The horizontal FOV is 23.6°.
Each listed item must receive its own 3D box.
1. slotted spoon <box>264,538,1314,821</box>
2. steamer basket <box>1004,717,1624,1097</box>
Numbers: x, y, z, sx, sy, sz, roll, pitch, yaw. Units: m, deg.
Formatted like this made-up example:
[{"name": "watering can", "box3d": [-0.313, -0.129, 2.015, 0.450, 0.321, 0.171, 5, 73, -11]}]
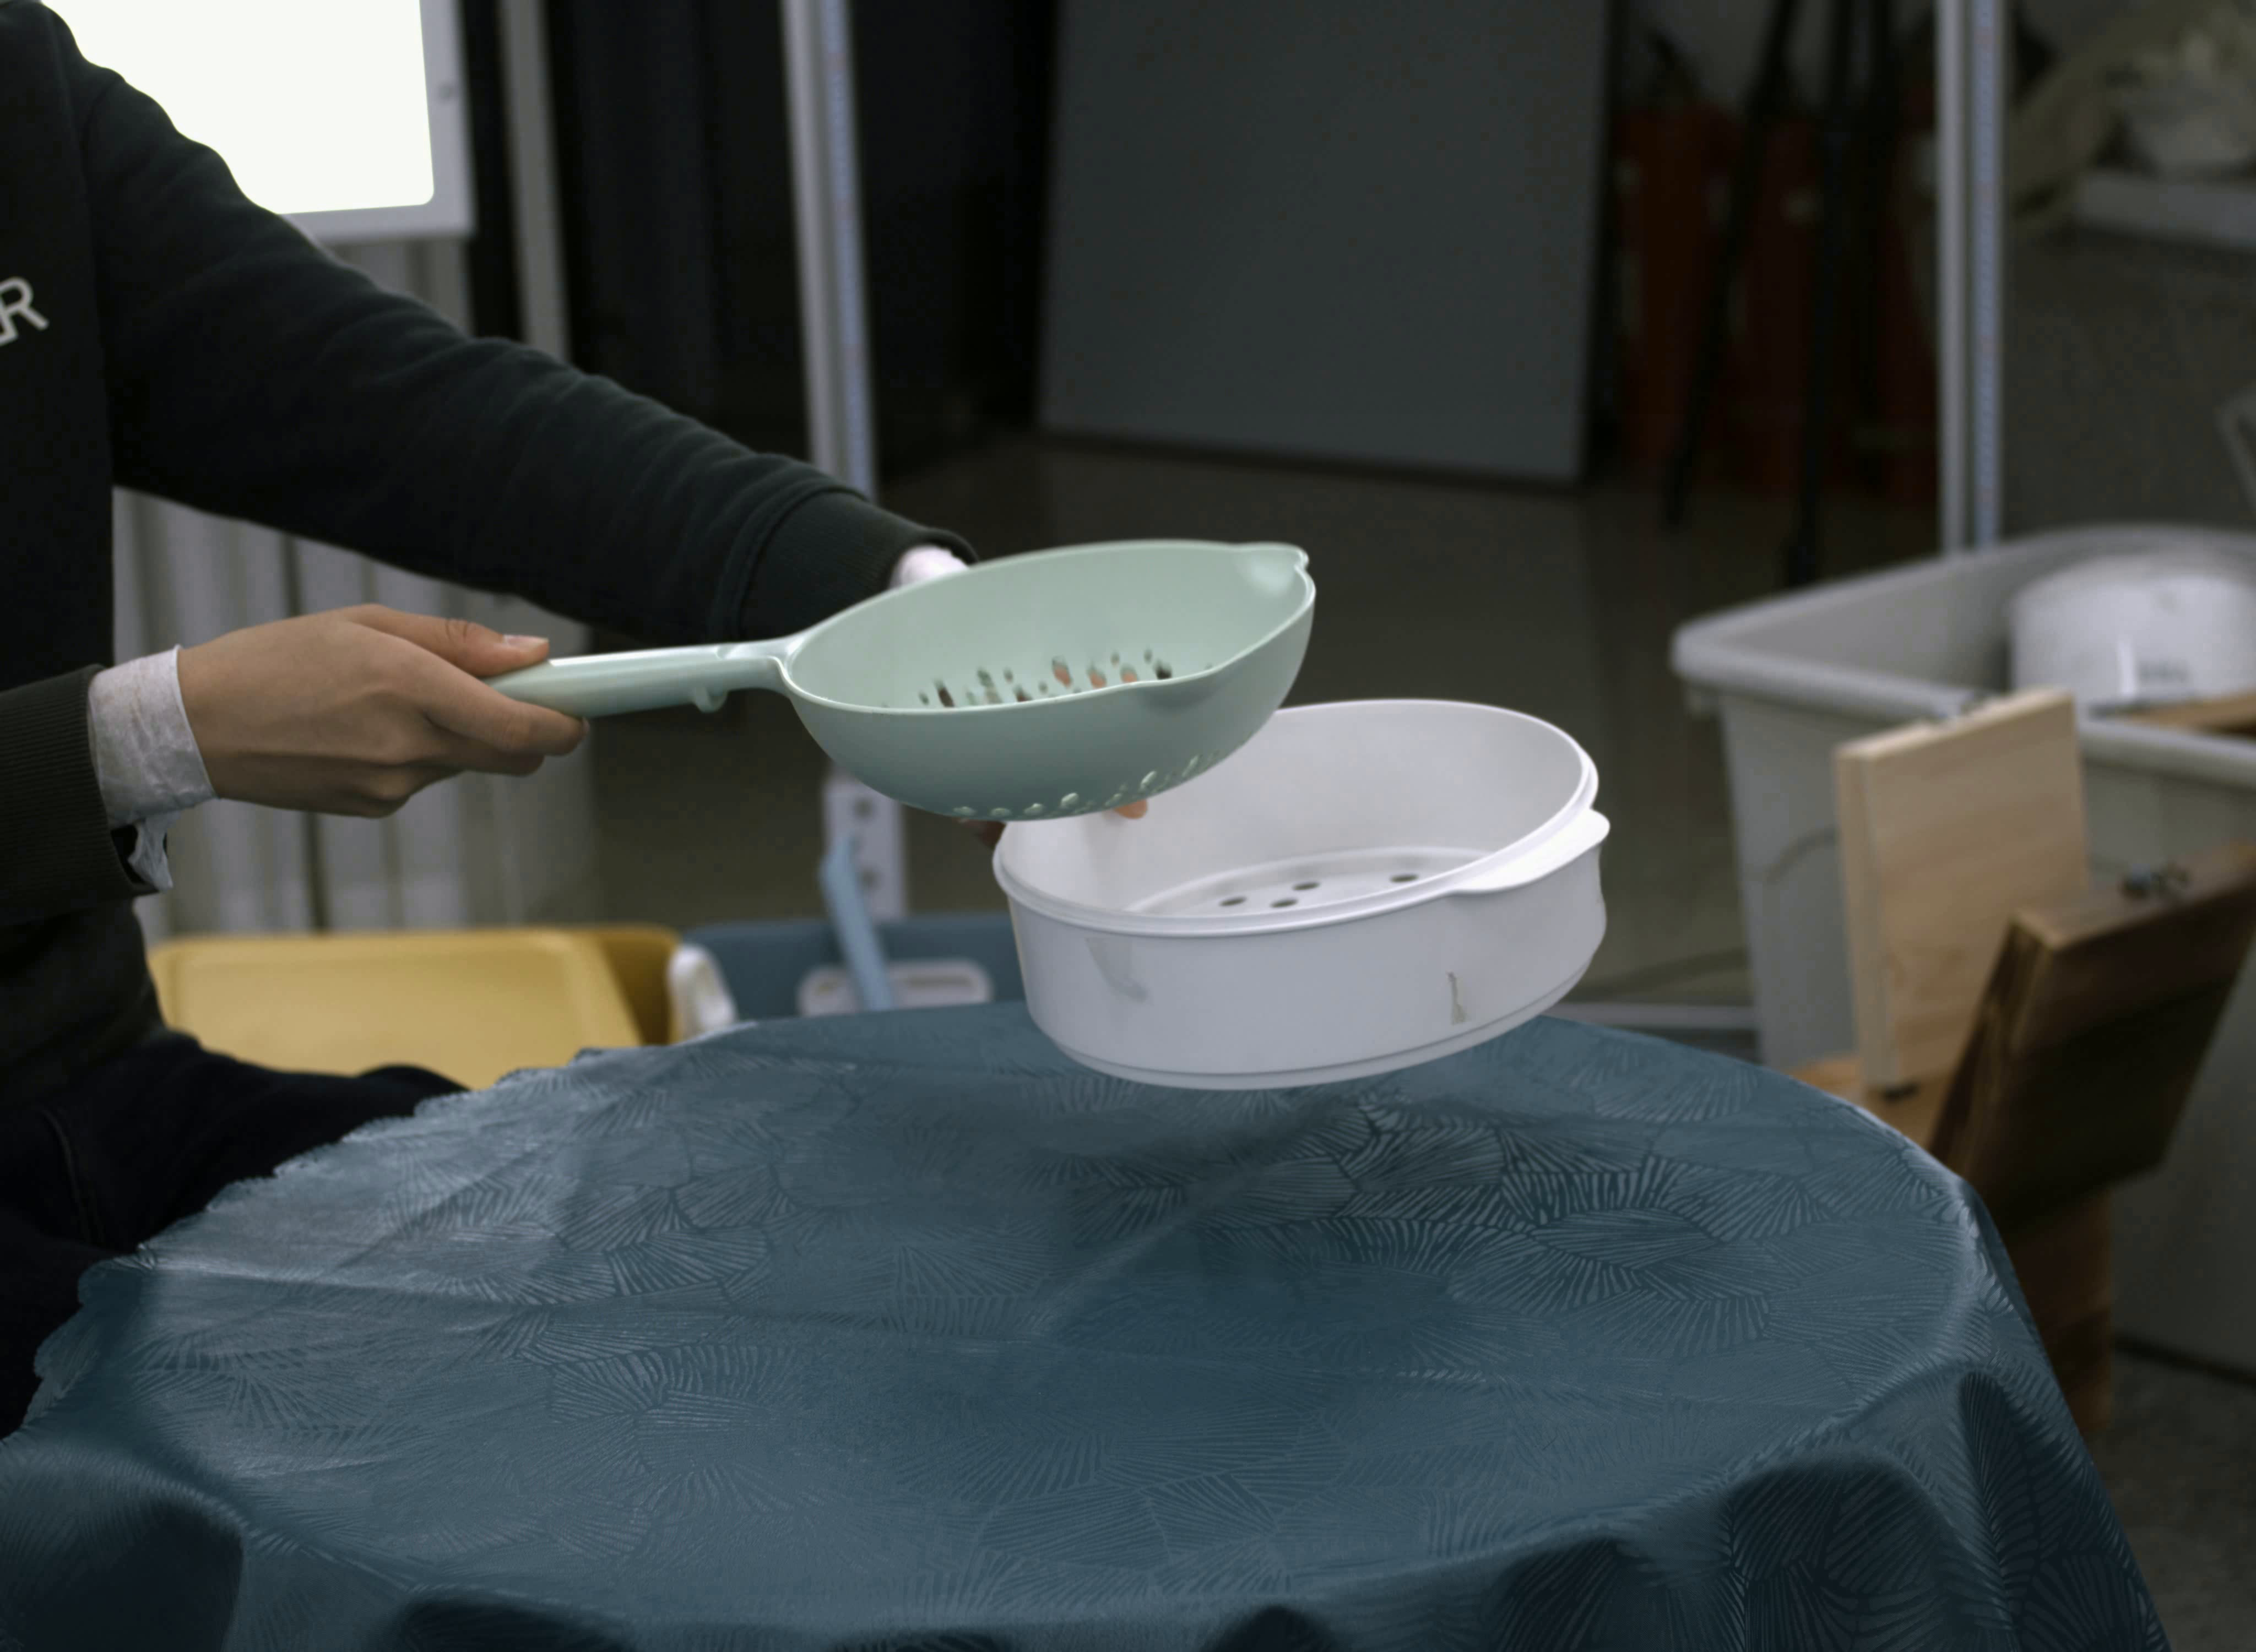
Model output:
[{"name": "slotted spoon", "box3d": [-0.114, -0.045, 1.727, 0.357, 0.076, 0.168, 3, 18, 16]}, {"name": "steamer basket", "box3d": [0.062, 0.026, 1.759, 0.232, 0.070, 0.198, 6, 23, 42]}]
